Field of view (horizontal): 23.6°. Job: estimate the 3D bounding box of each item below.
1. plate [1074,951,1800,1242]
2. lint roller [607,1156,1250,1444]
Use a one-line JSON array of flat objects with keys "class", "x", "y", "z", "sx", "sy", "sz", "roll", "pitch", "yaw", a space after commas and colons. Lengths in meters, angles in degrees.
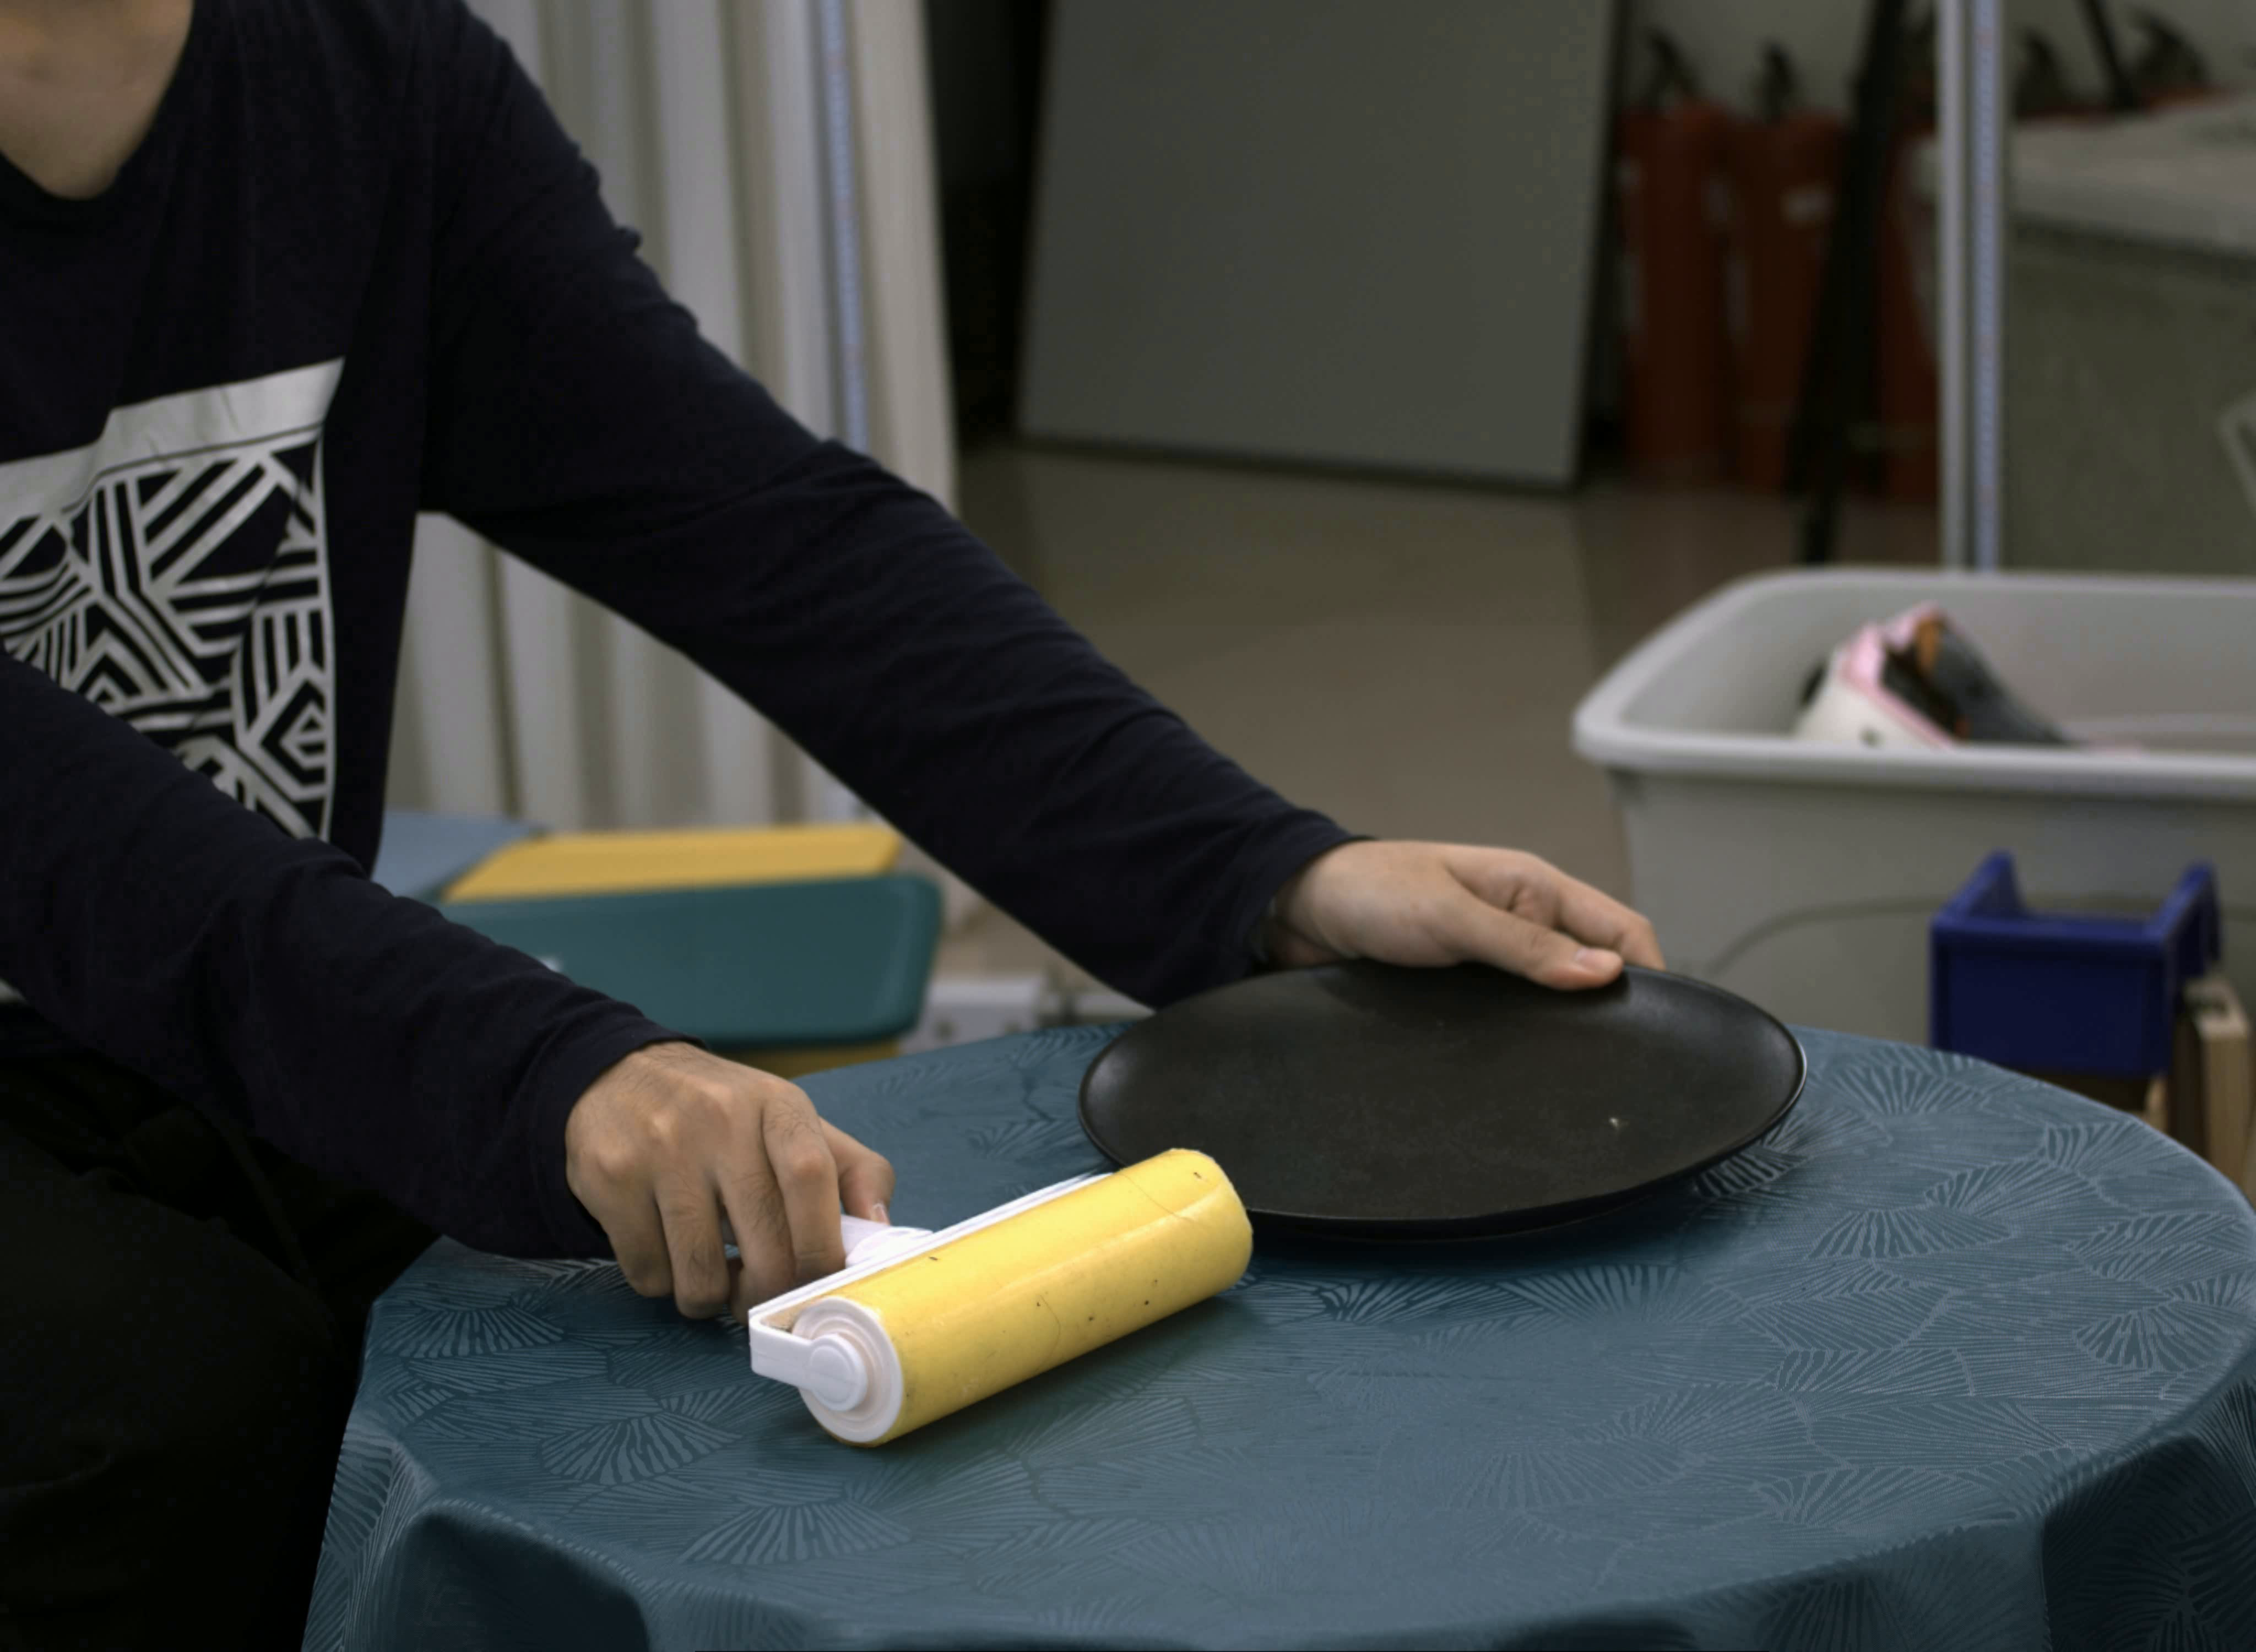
[{"class": "plate", "x": 0.102, "y": 0.093, "z": 1.784, "sx": 0.241, "sy": 0.023, "sz": 0.245, "roll": -5, "pitch": 18, "yaw": 1}, {"class": "lint roller", "x": -0.085, "y": 0.123, "z": 1.648, "sx": 0.193, "sy": 0.052, "sz": 0.171, "roll": 19, "pitch": 24, "yaw": 36}]
